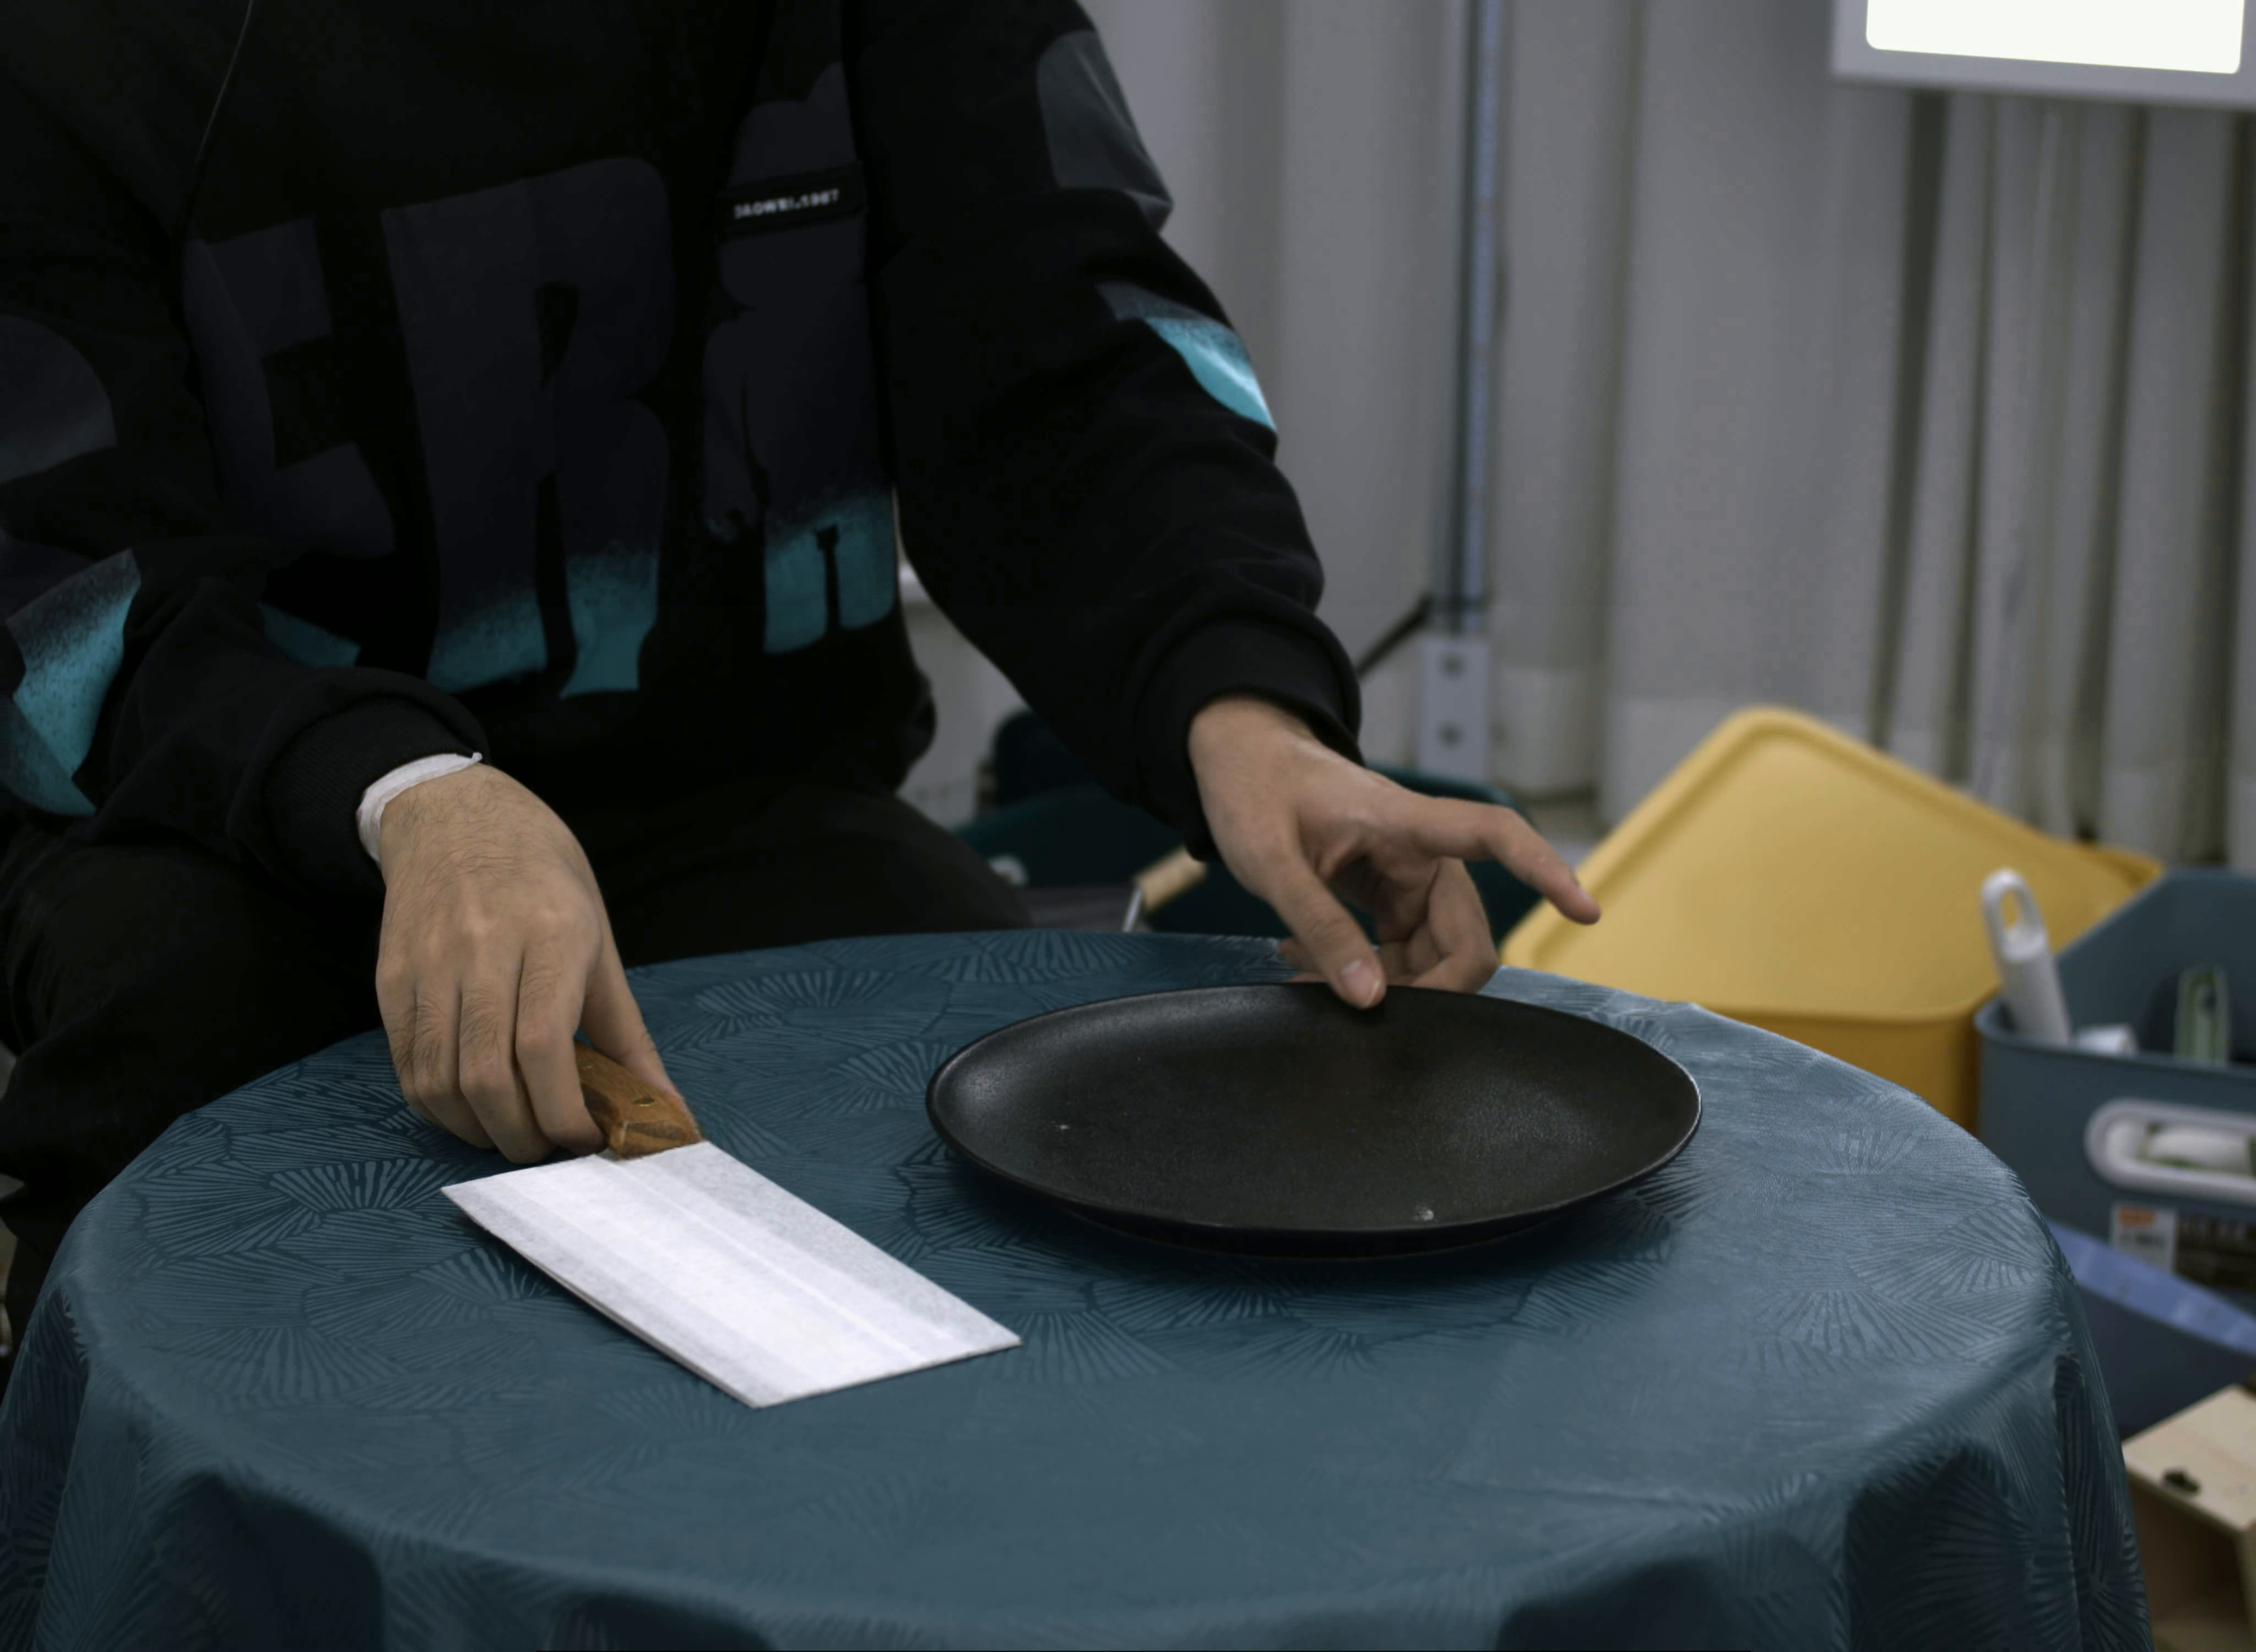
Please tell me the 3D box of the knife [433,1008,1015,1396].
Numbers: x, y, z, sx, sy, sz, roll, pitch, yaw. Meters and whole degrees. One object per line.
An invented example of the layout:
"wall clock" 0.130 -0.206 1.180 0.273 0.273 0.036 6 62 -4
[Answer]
"knife" -0.150 0.113 1.588 0.093 0.021 0.301 -11 22 -33

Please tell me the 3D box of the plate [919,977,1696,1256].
"plate" 0.056 0.093 1.647 0.243 0.023 0.243 0 16 0
